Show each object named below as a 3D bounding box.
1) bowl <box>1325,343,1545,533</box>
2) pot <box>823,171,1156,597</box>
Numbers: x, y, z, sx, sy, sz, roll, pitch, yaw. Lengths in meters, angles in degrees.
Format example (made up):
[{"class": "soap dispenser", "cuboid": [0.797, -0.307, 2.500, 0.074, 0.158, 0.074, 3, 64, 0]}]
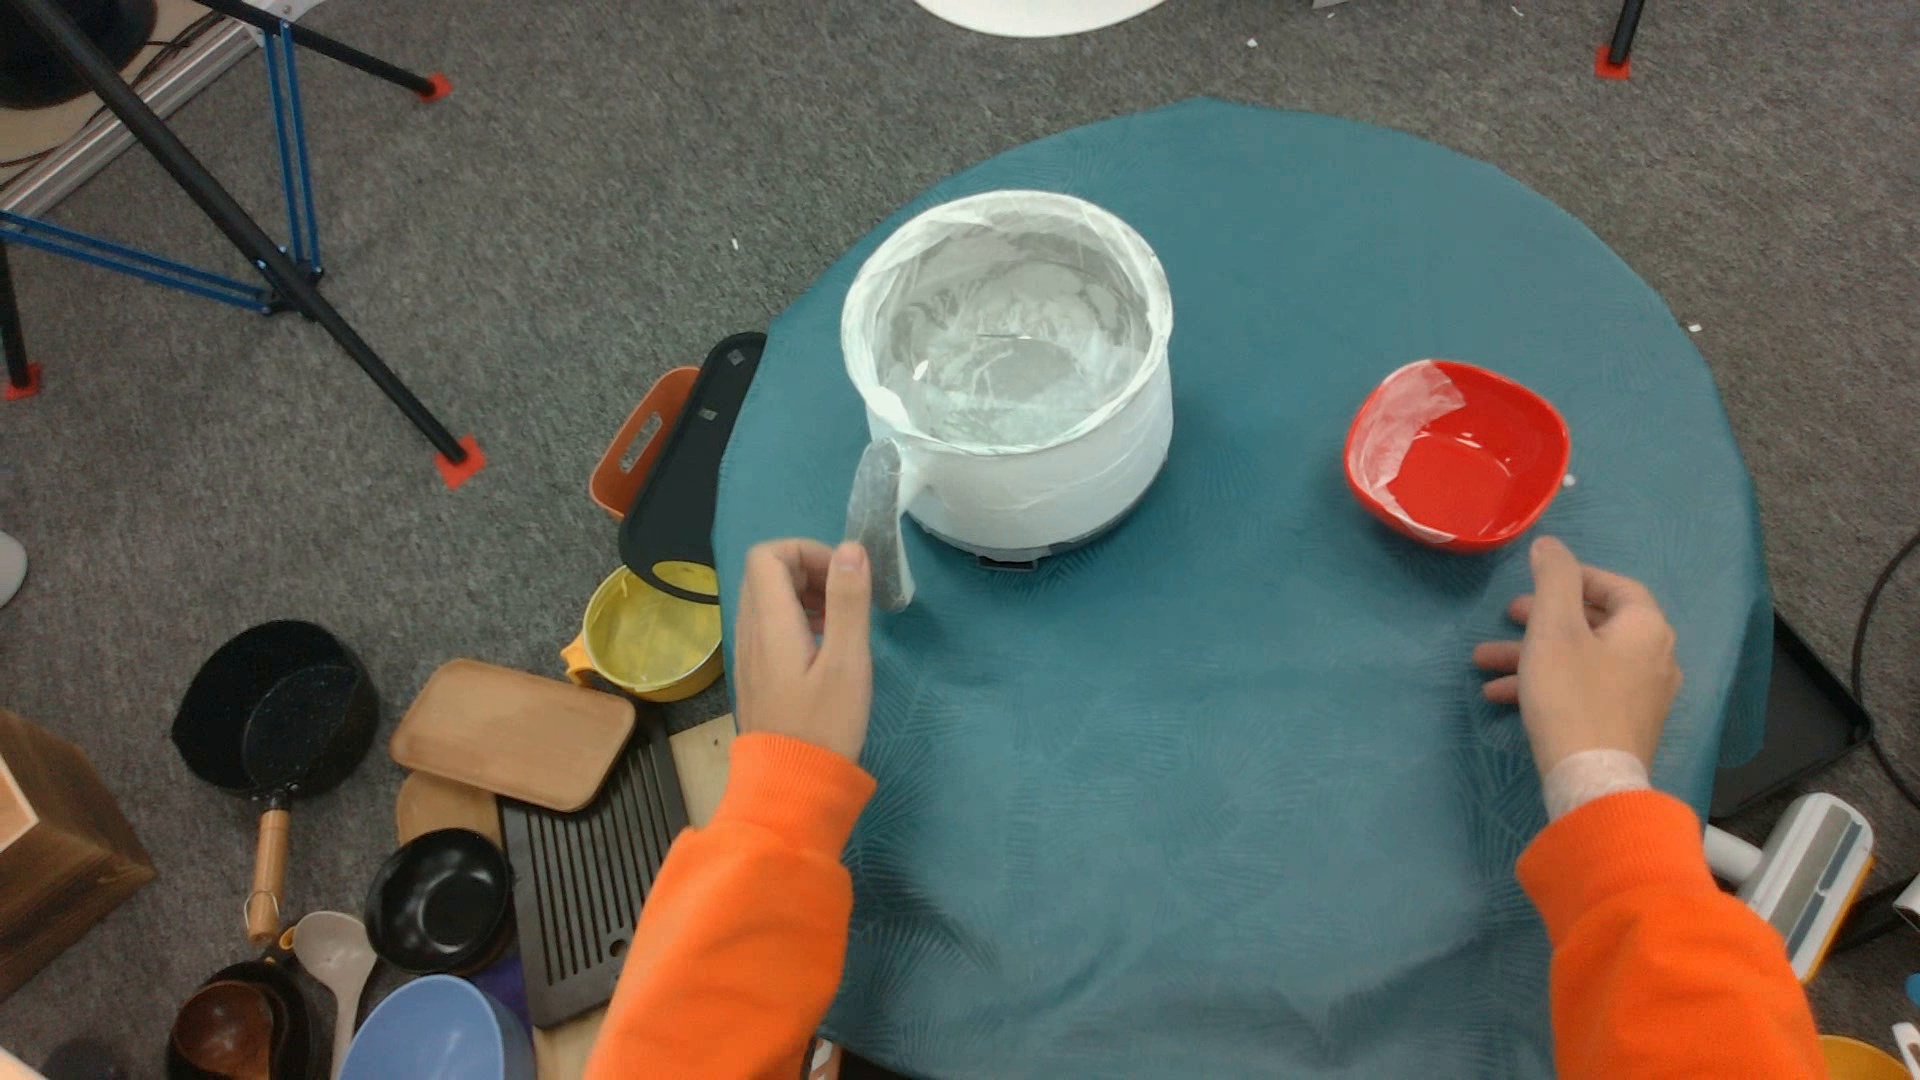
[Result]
[{"class": "bowl", "cuboid": [0.261, -0.049, 0.770, 0.119, 0.051, 0.119, -3, 61, 5]}, {"class": "pot", "cuboid": [0.006, -0.077, 0.773, 0.178, 0.136, 0.234, 29, 69, 22]}]
